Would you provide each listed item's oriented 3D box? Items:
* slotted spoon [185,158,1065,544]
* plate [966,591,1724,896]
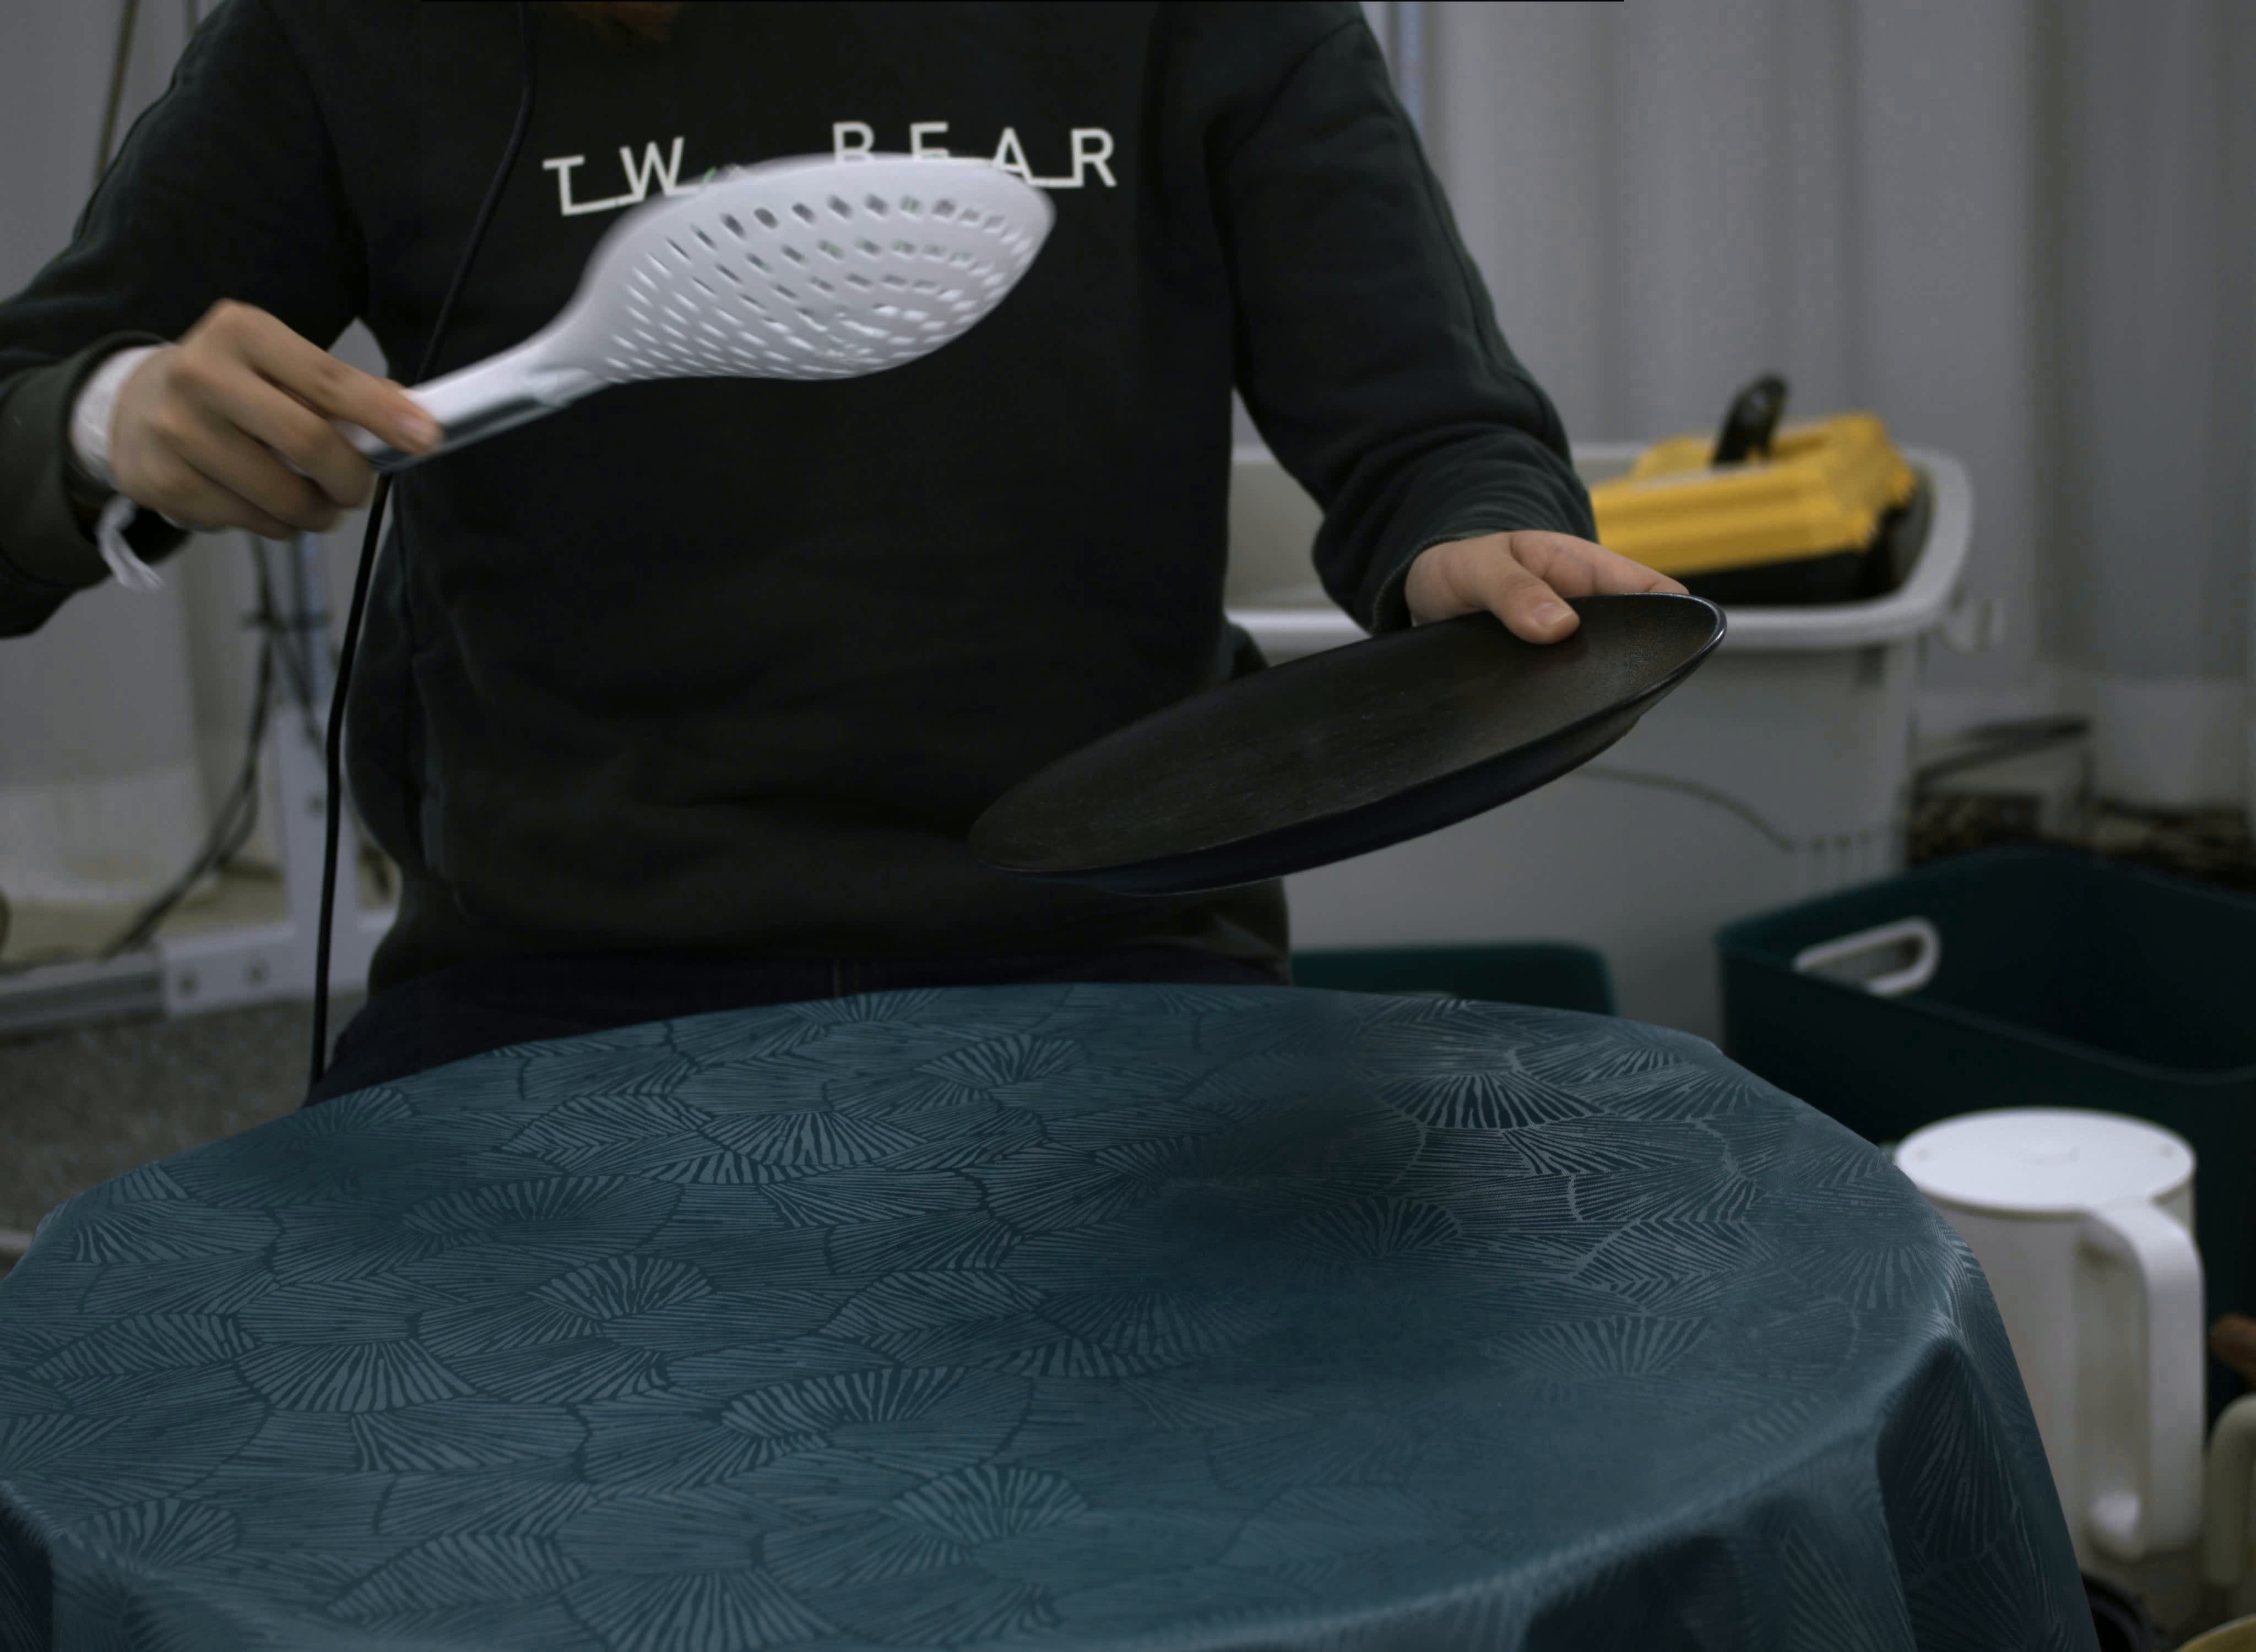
[{"bbox_3d":[-0.170,-0.145,1.730,0.349,0.046,0.135,-12,-11,35],"label":"slotted spoon"},{"bbox_3d":[0.069,-0.021,1.685,0.244,0.023,0.246,-17,12,3],"label":"plate"}]
